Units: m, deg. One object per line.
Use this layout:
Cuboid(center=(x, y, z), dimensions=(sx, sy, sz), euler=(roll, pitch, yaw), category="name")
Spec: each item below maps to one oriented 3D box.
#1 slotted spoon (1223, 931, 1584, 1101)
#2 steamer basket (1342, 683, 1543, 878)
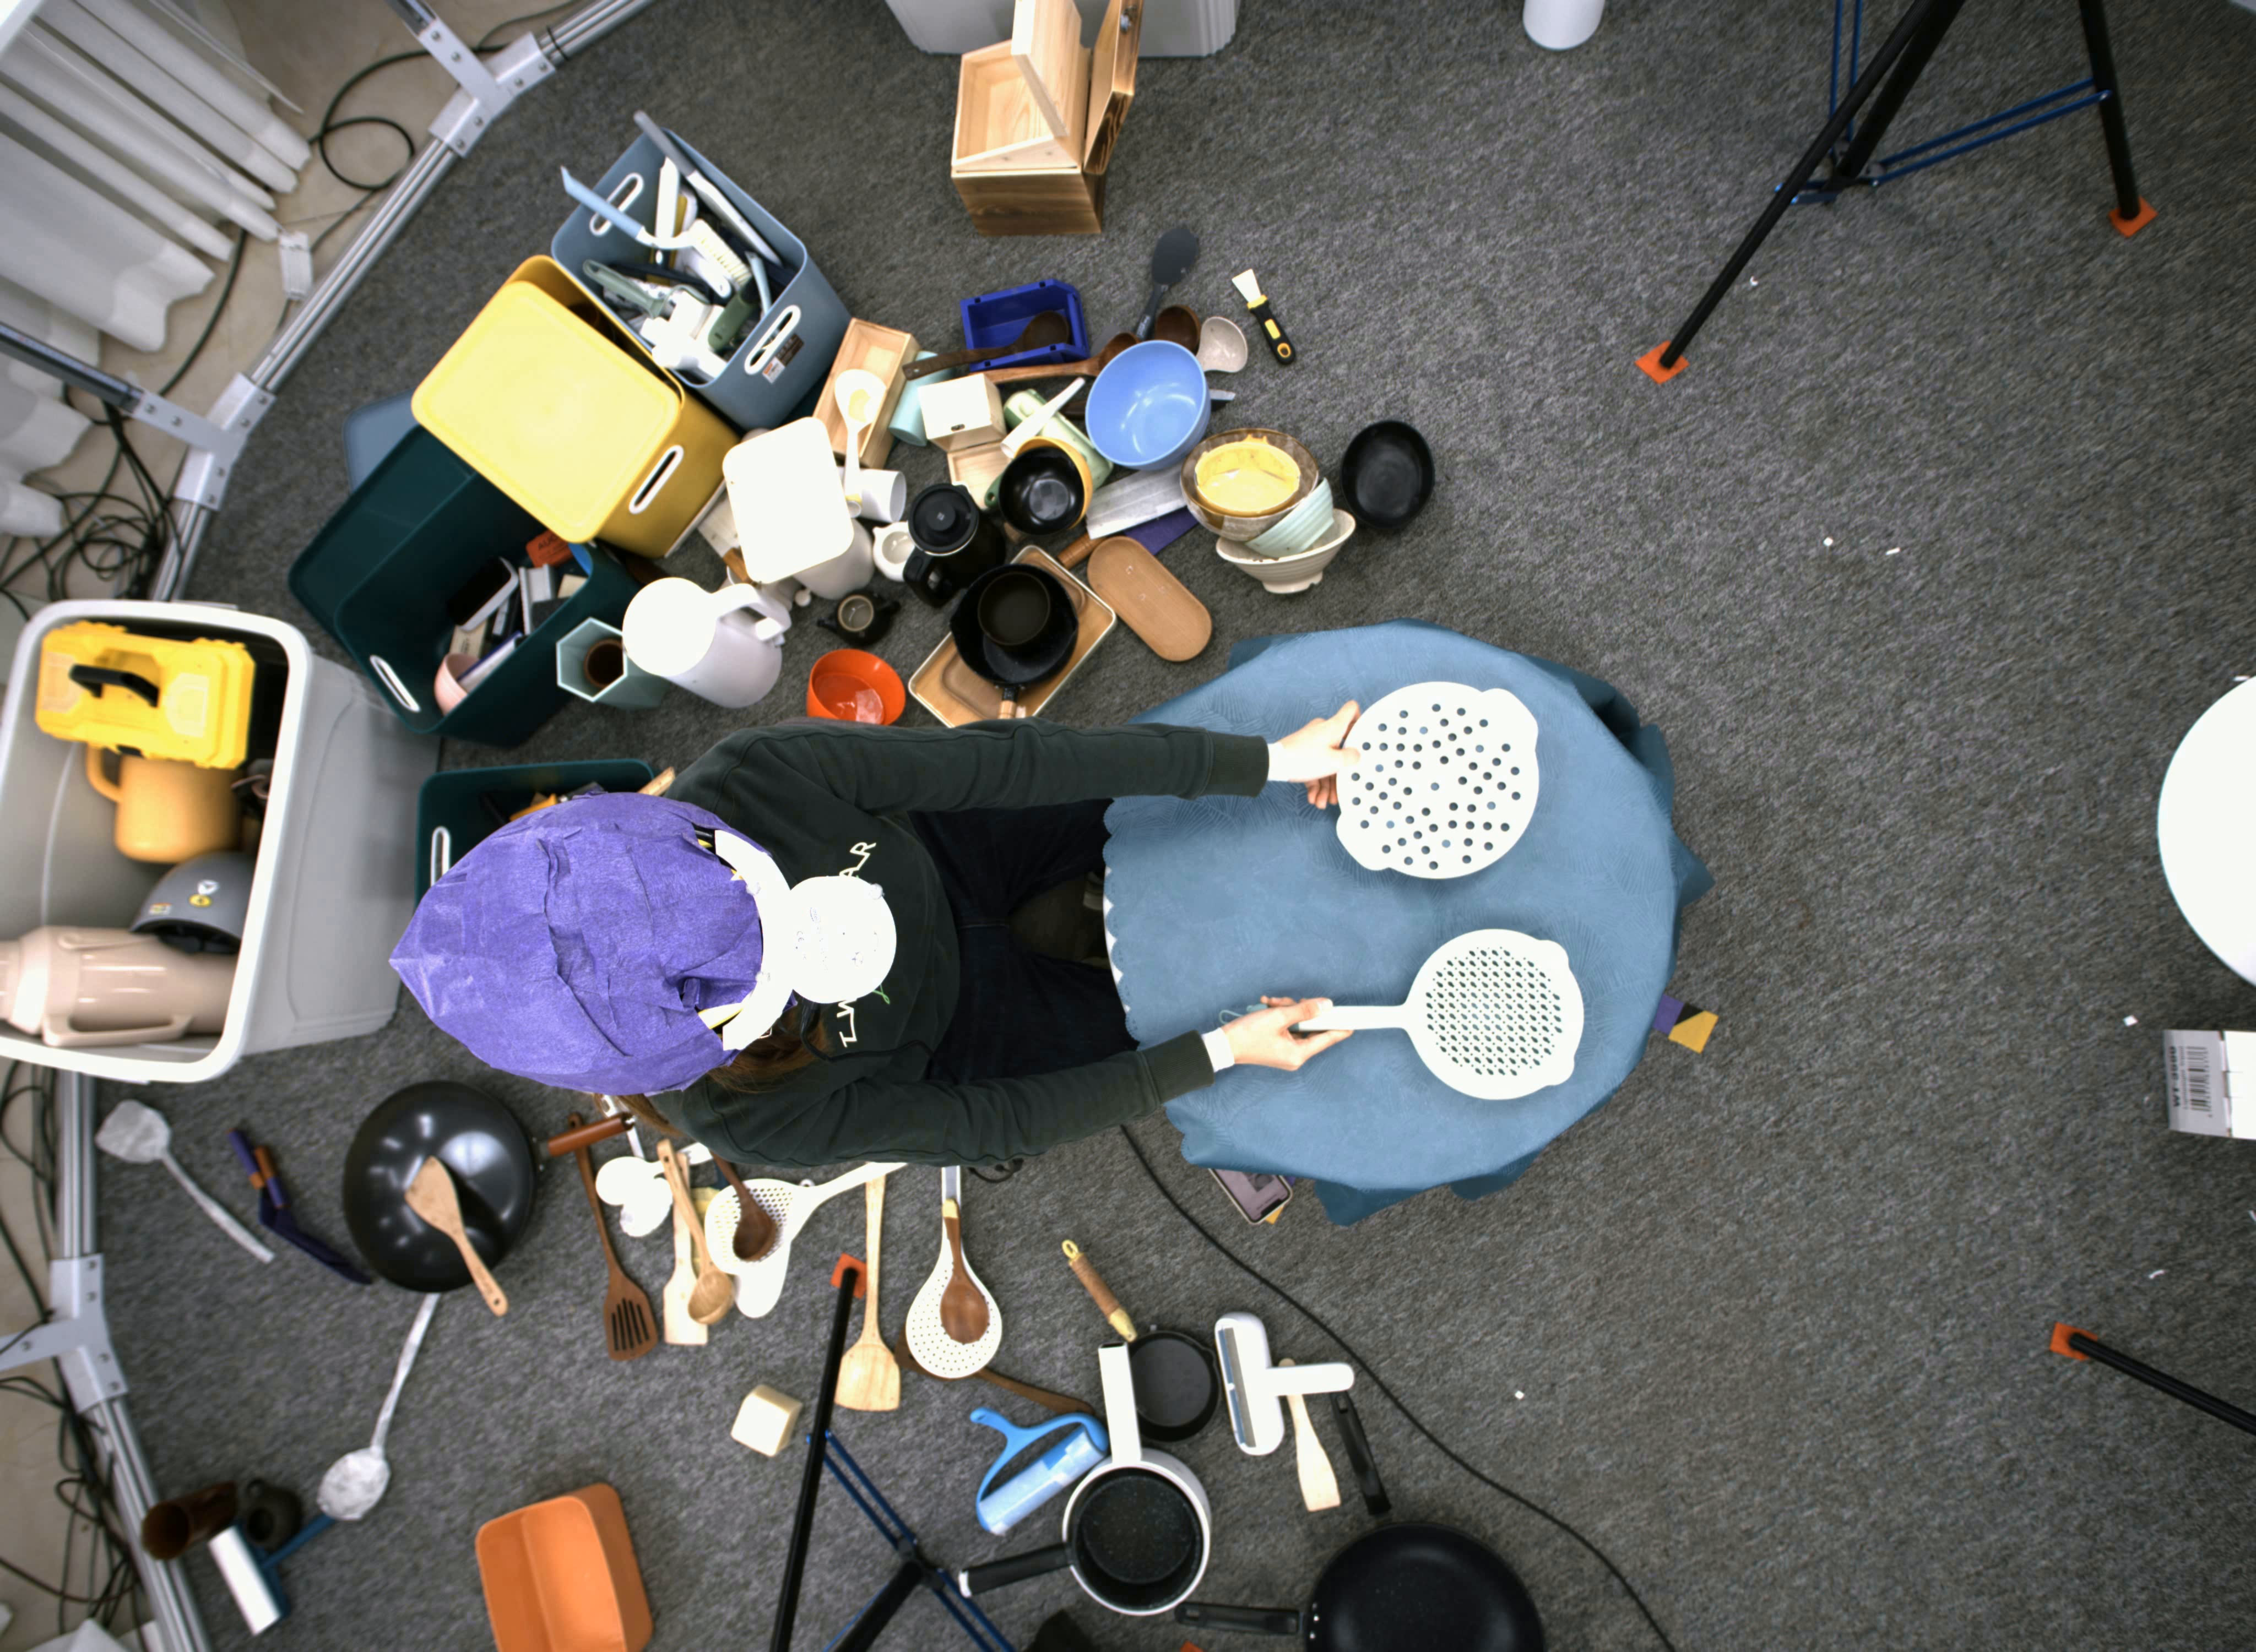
Cuboid(center=(0.277, 0.195, 1.414), dimensions=(0.360, 0.075, 0.168), euler=(-2, 86, 5), category="slotted spoon")
Cuboid(center=(0.325, -0.046, 1.428), dimensions=(0.232, 0.069, 0.201), euler=(-42, 79, 7), category="steamer basket")
